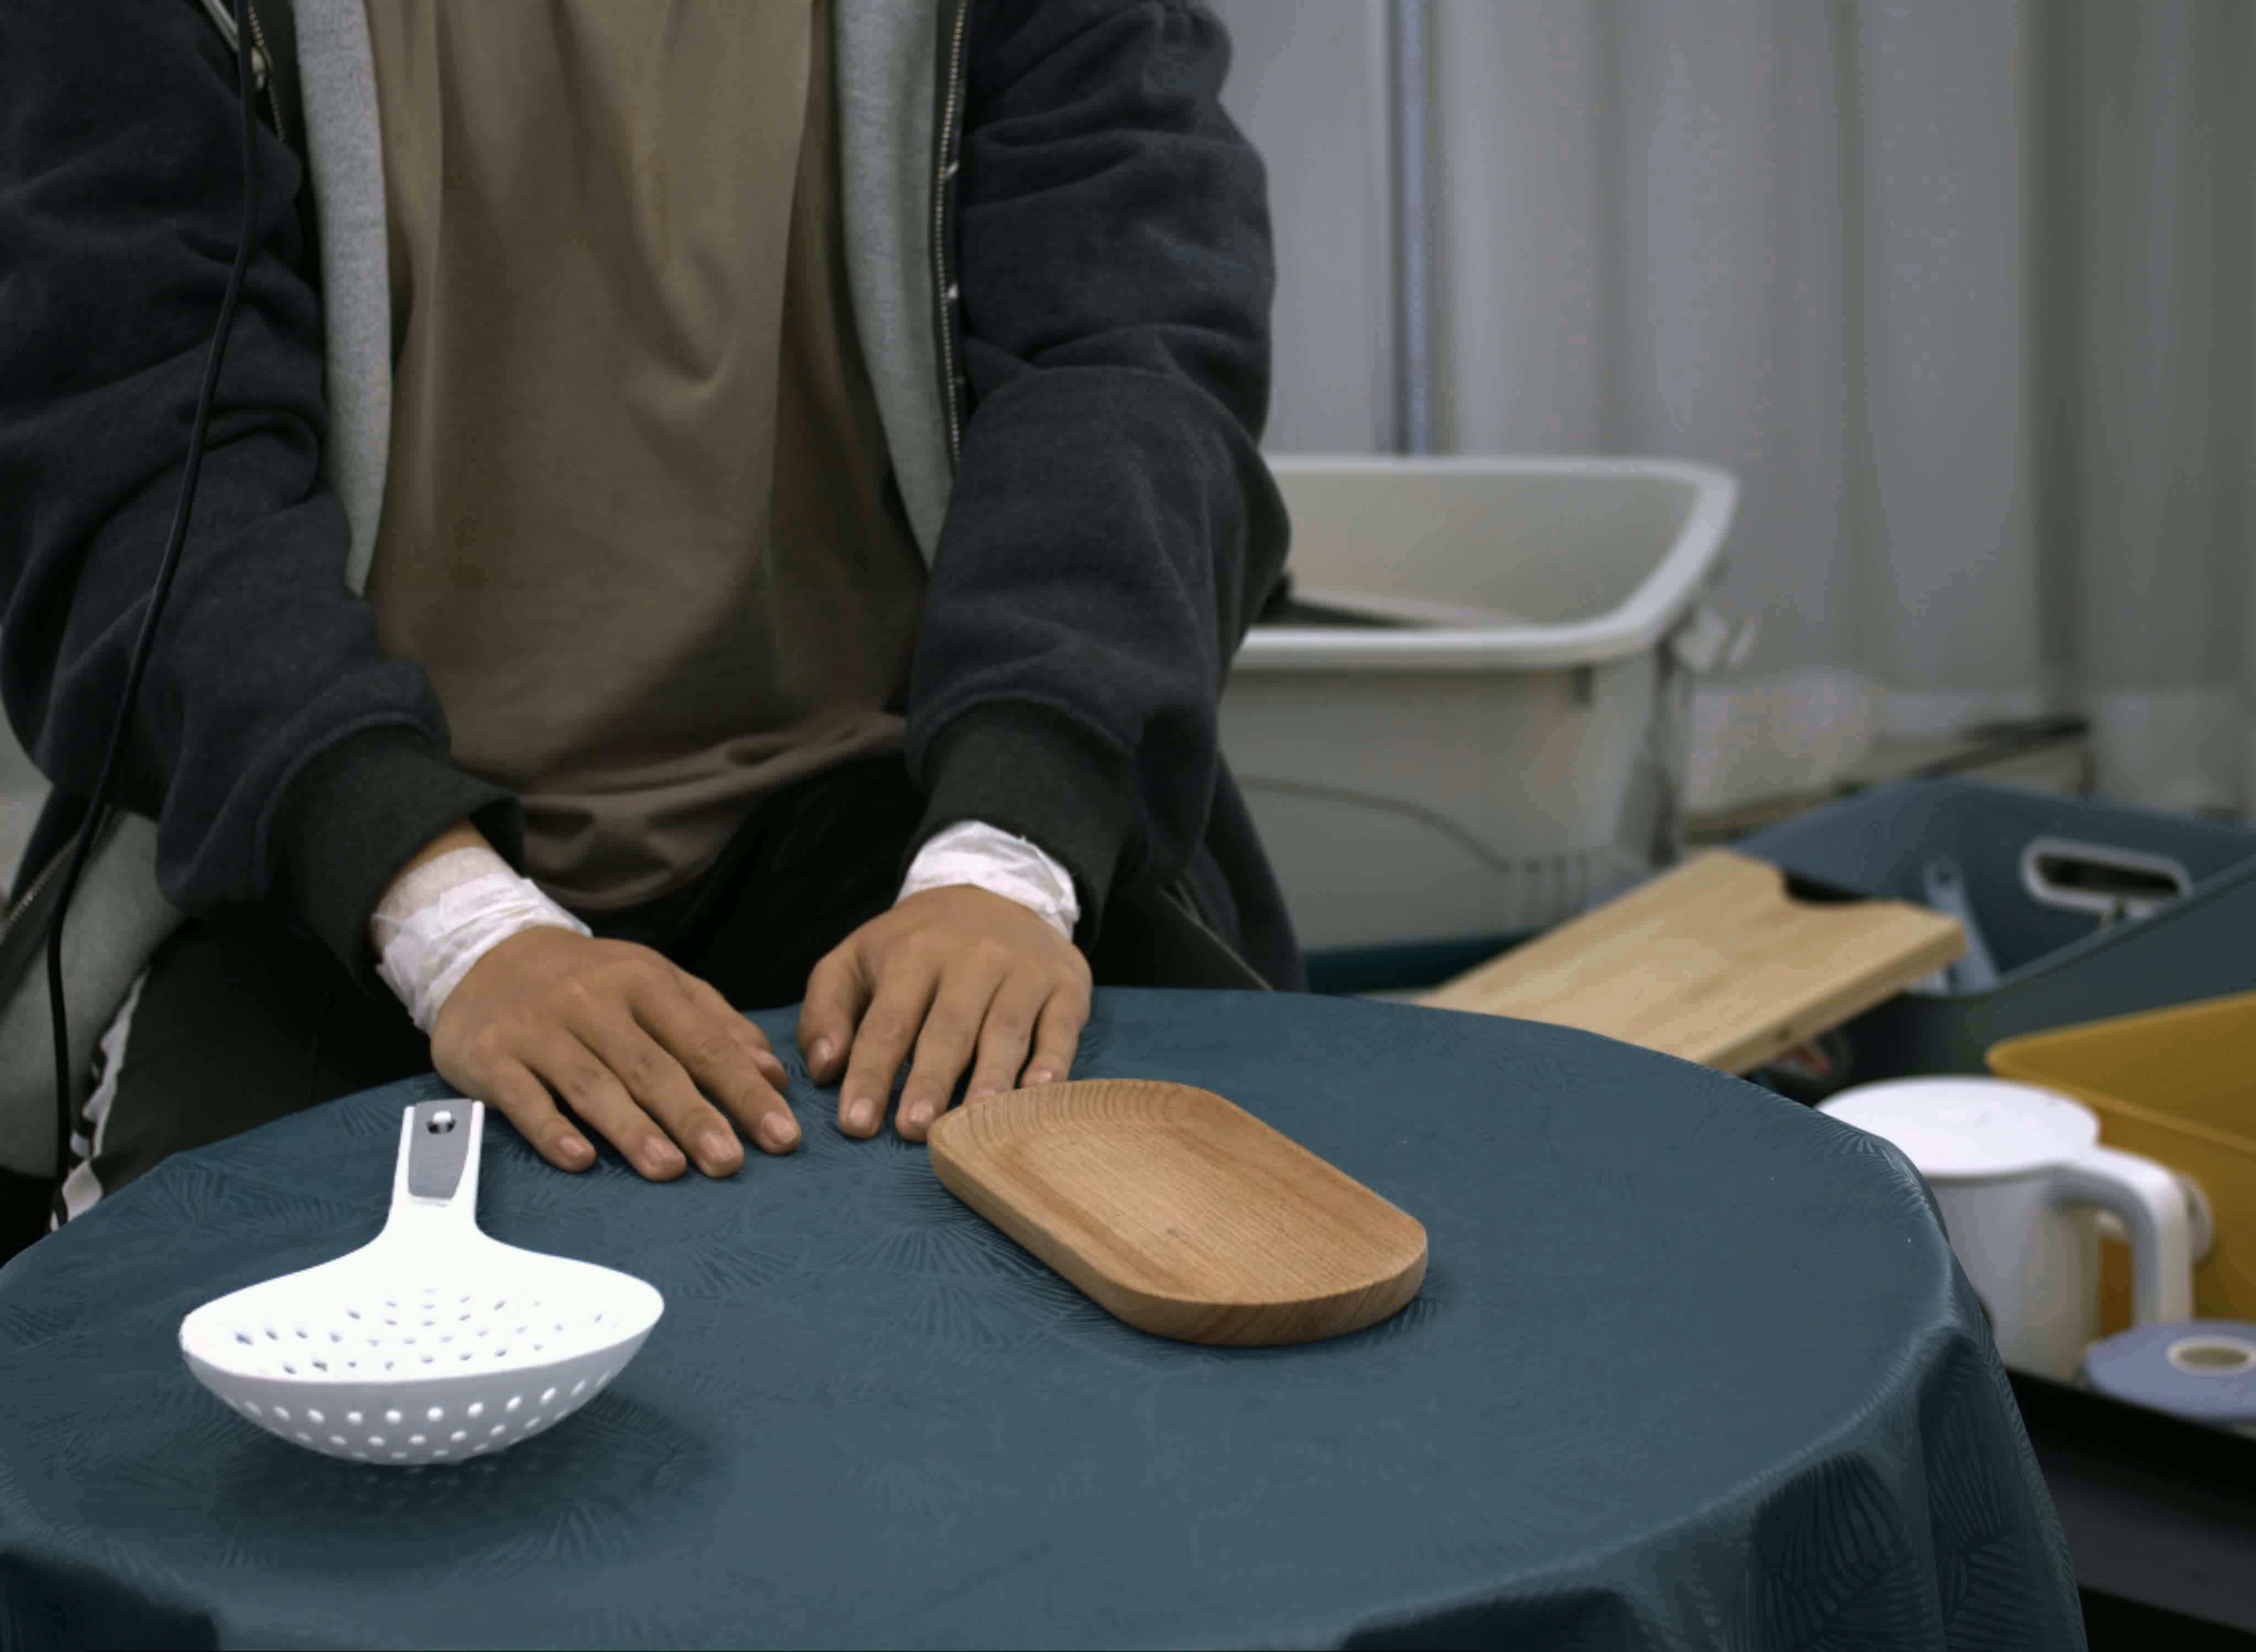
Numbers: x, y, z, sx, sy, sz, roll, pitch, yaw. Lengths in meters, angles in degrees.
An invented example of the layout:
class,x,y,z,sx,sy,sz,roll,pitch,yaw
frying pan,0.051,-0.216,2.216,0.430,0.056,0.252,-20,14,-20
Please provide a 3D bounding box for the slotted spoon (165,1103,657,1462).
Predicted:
class,x,y,z,sx,sy,sz,roll,pitch,yaw
slotted spoon,-0.209,0.126,1.625,0.135,0.045,0.352,-2,14,-5

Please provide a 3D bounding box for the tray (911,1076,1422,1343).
class,x,y,z,sx,sy,sz,roll,pitch,yaw
tray,0.010,0.116,1.678,0.101,0.020,0.233,-8,15,-23
